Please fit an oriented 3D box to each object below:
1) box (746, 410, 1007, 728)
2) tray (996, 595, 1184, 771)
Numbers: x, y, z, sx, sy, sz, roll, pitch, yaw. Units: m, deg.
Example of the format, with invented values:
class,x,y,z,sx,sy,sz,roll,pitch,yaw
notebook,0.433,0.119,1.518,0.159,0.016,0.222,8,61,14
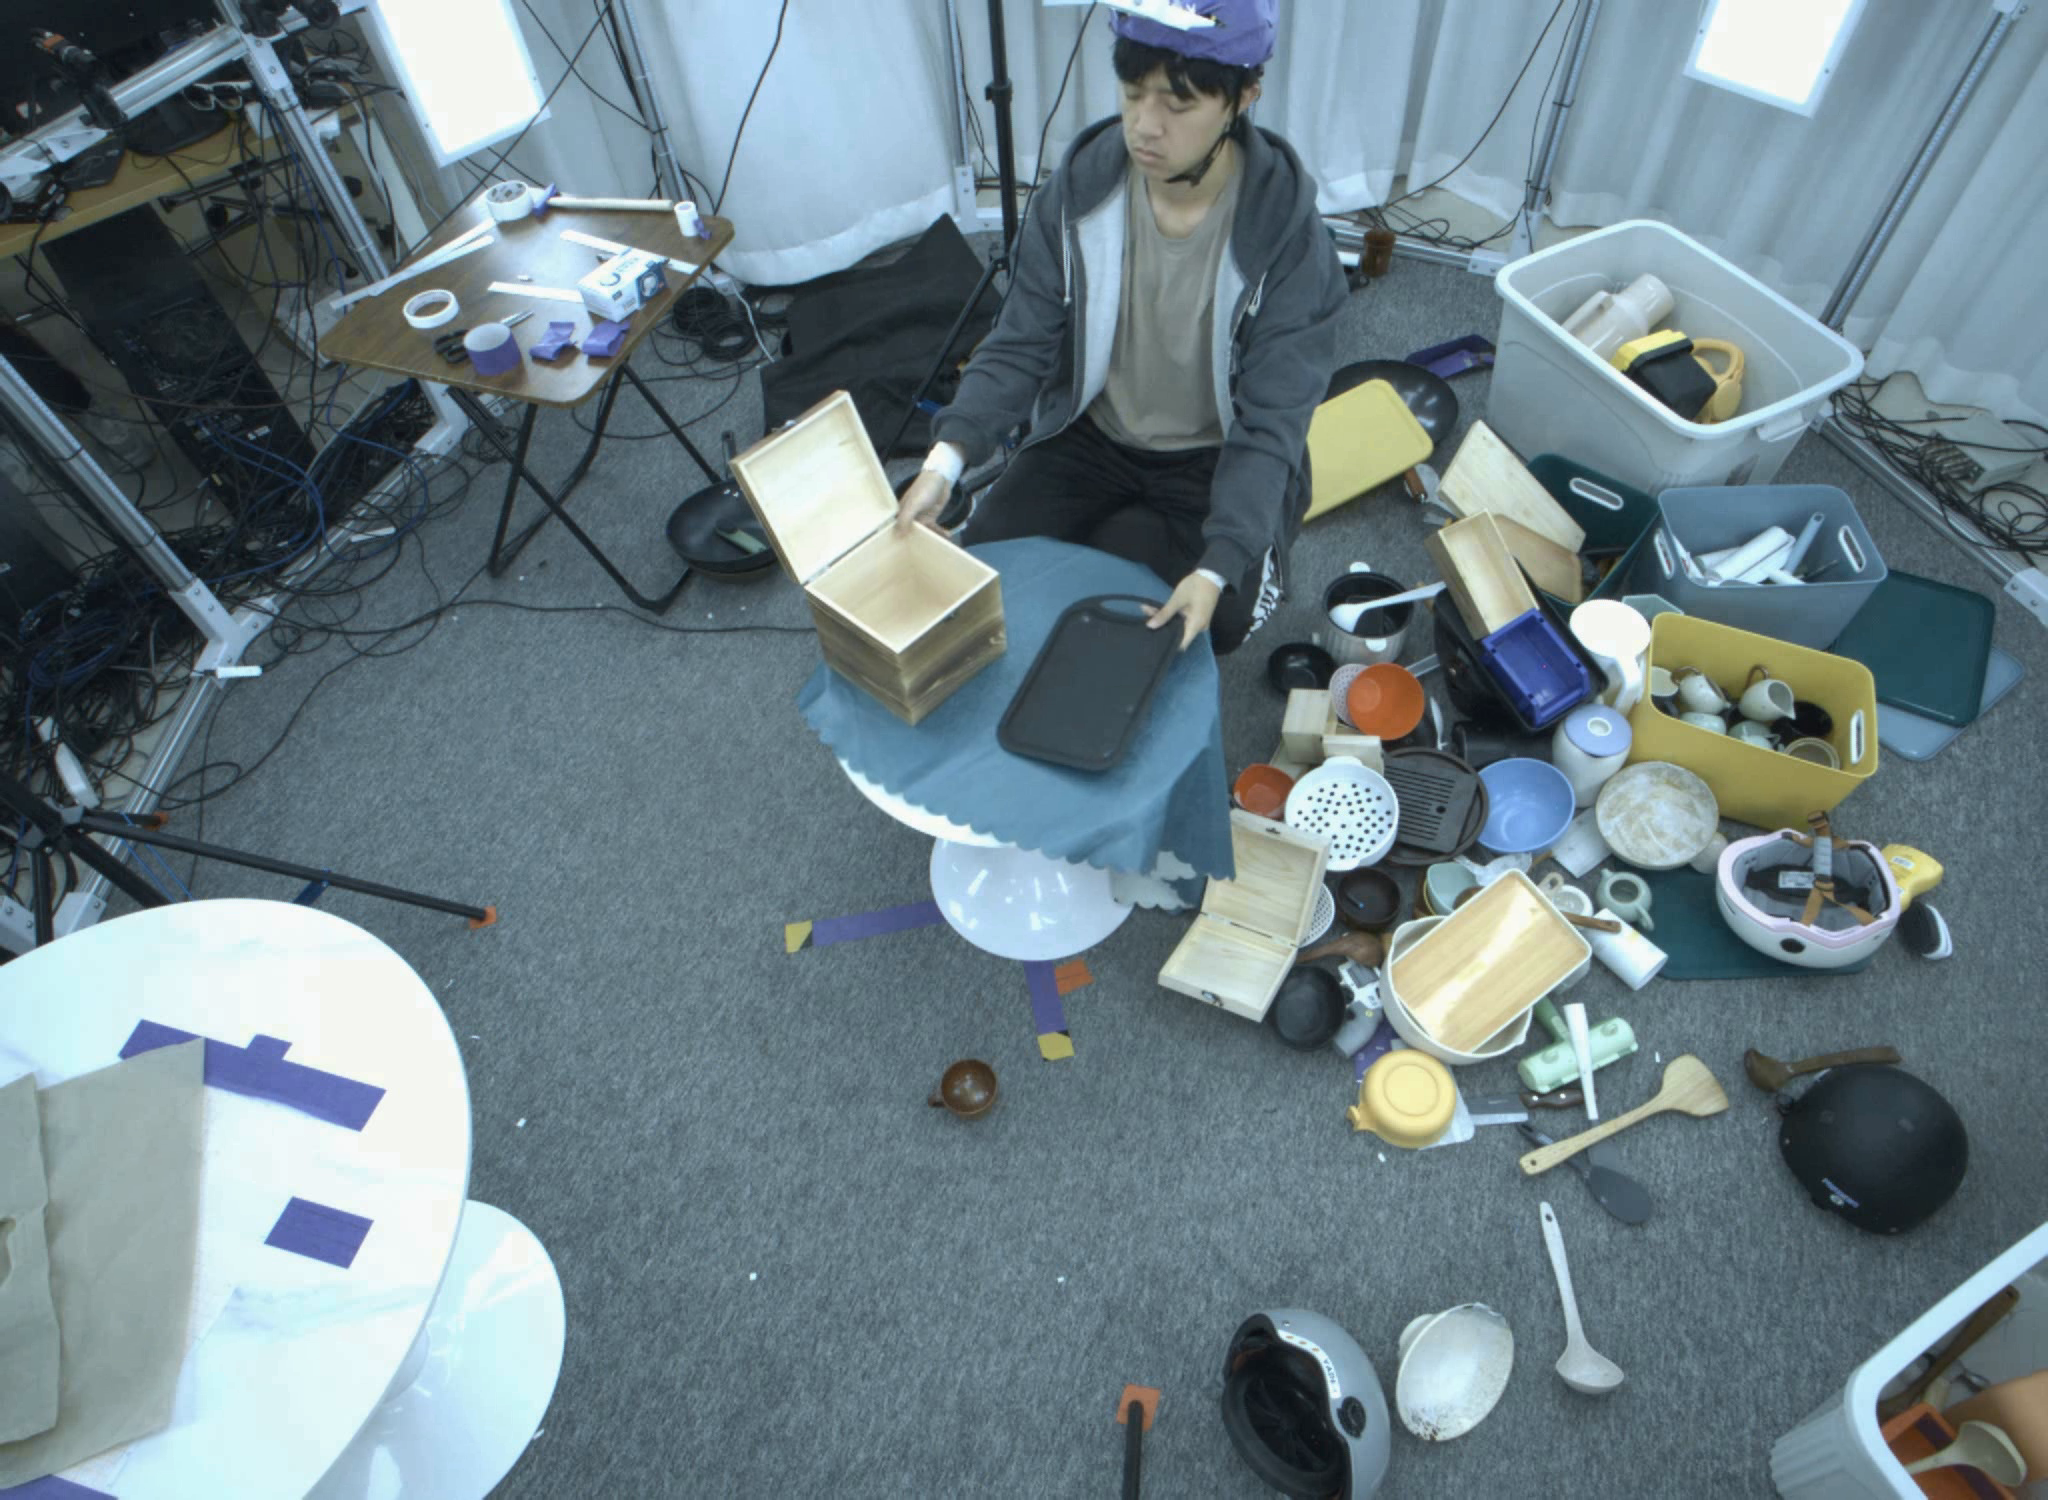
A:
class,x,y,z,sx,sy,sz,roll,pitch,yaw
box,-0.219,-0.276,1.771,0.316,0.380,0.210,35,64,25
tray,0.102,-0.112,1.830,0.207,0.010,0.325,14,60,25
